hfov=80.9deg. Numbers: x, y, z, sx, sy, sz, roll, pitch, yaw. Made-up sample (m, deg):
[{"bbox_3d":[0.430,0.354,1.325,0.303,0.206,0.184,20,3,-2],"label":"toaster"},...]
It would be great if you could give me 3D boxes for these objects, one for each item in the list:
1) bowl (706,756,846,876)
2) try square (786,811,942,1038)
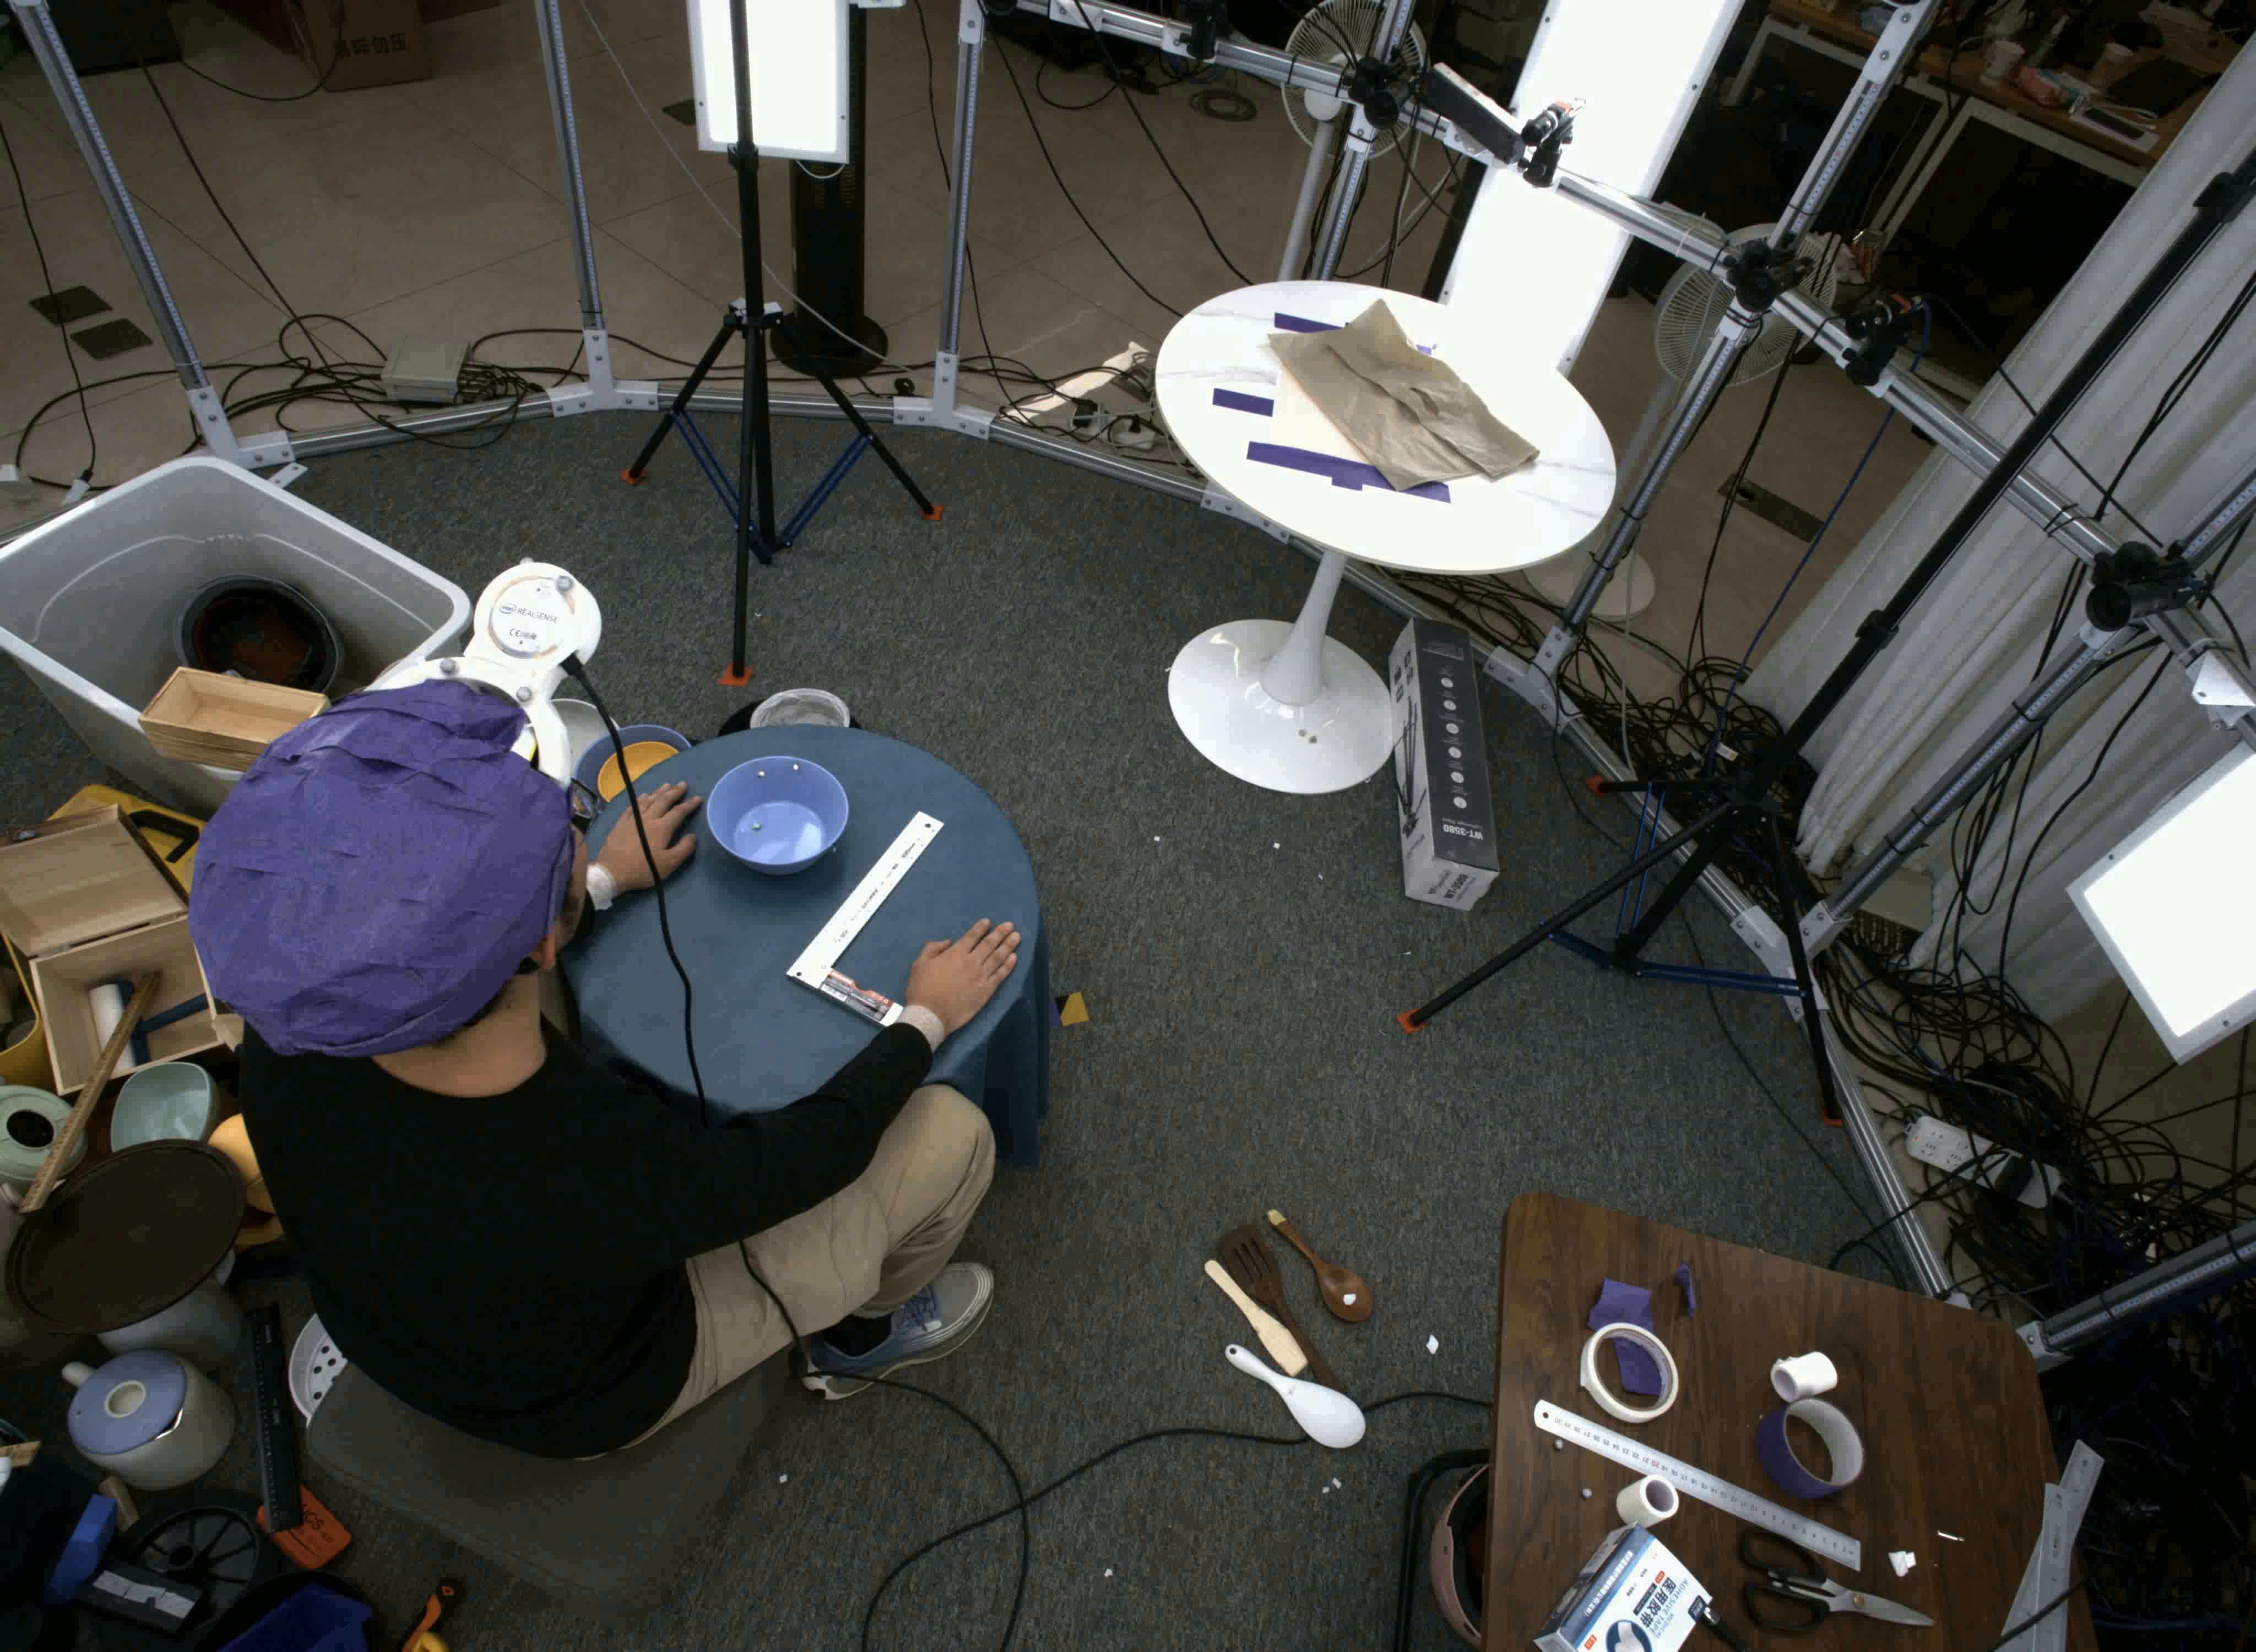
[{"bbox_3d":[-0.452,-0.003,1.669,0.176,0.071,0.173,8,52,-9],"label":"bowl"},{"bbox_3d":[-0.288,0.115,1.668,0.151,0.016,0.311,30,51,3],"label":"try square"}]
